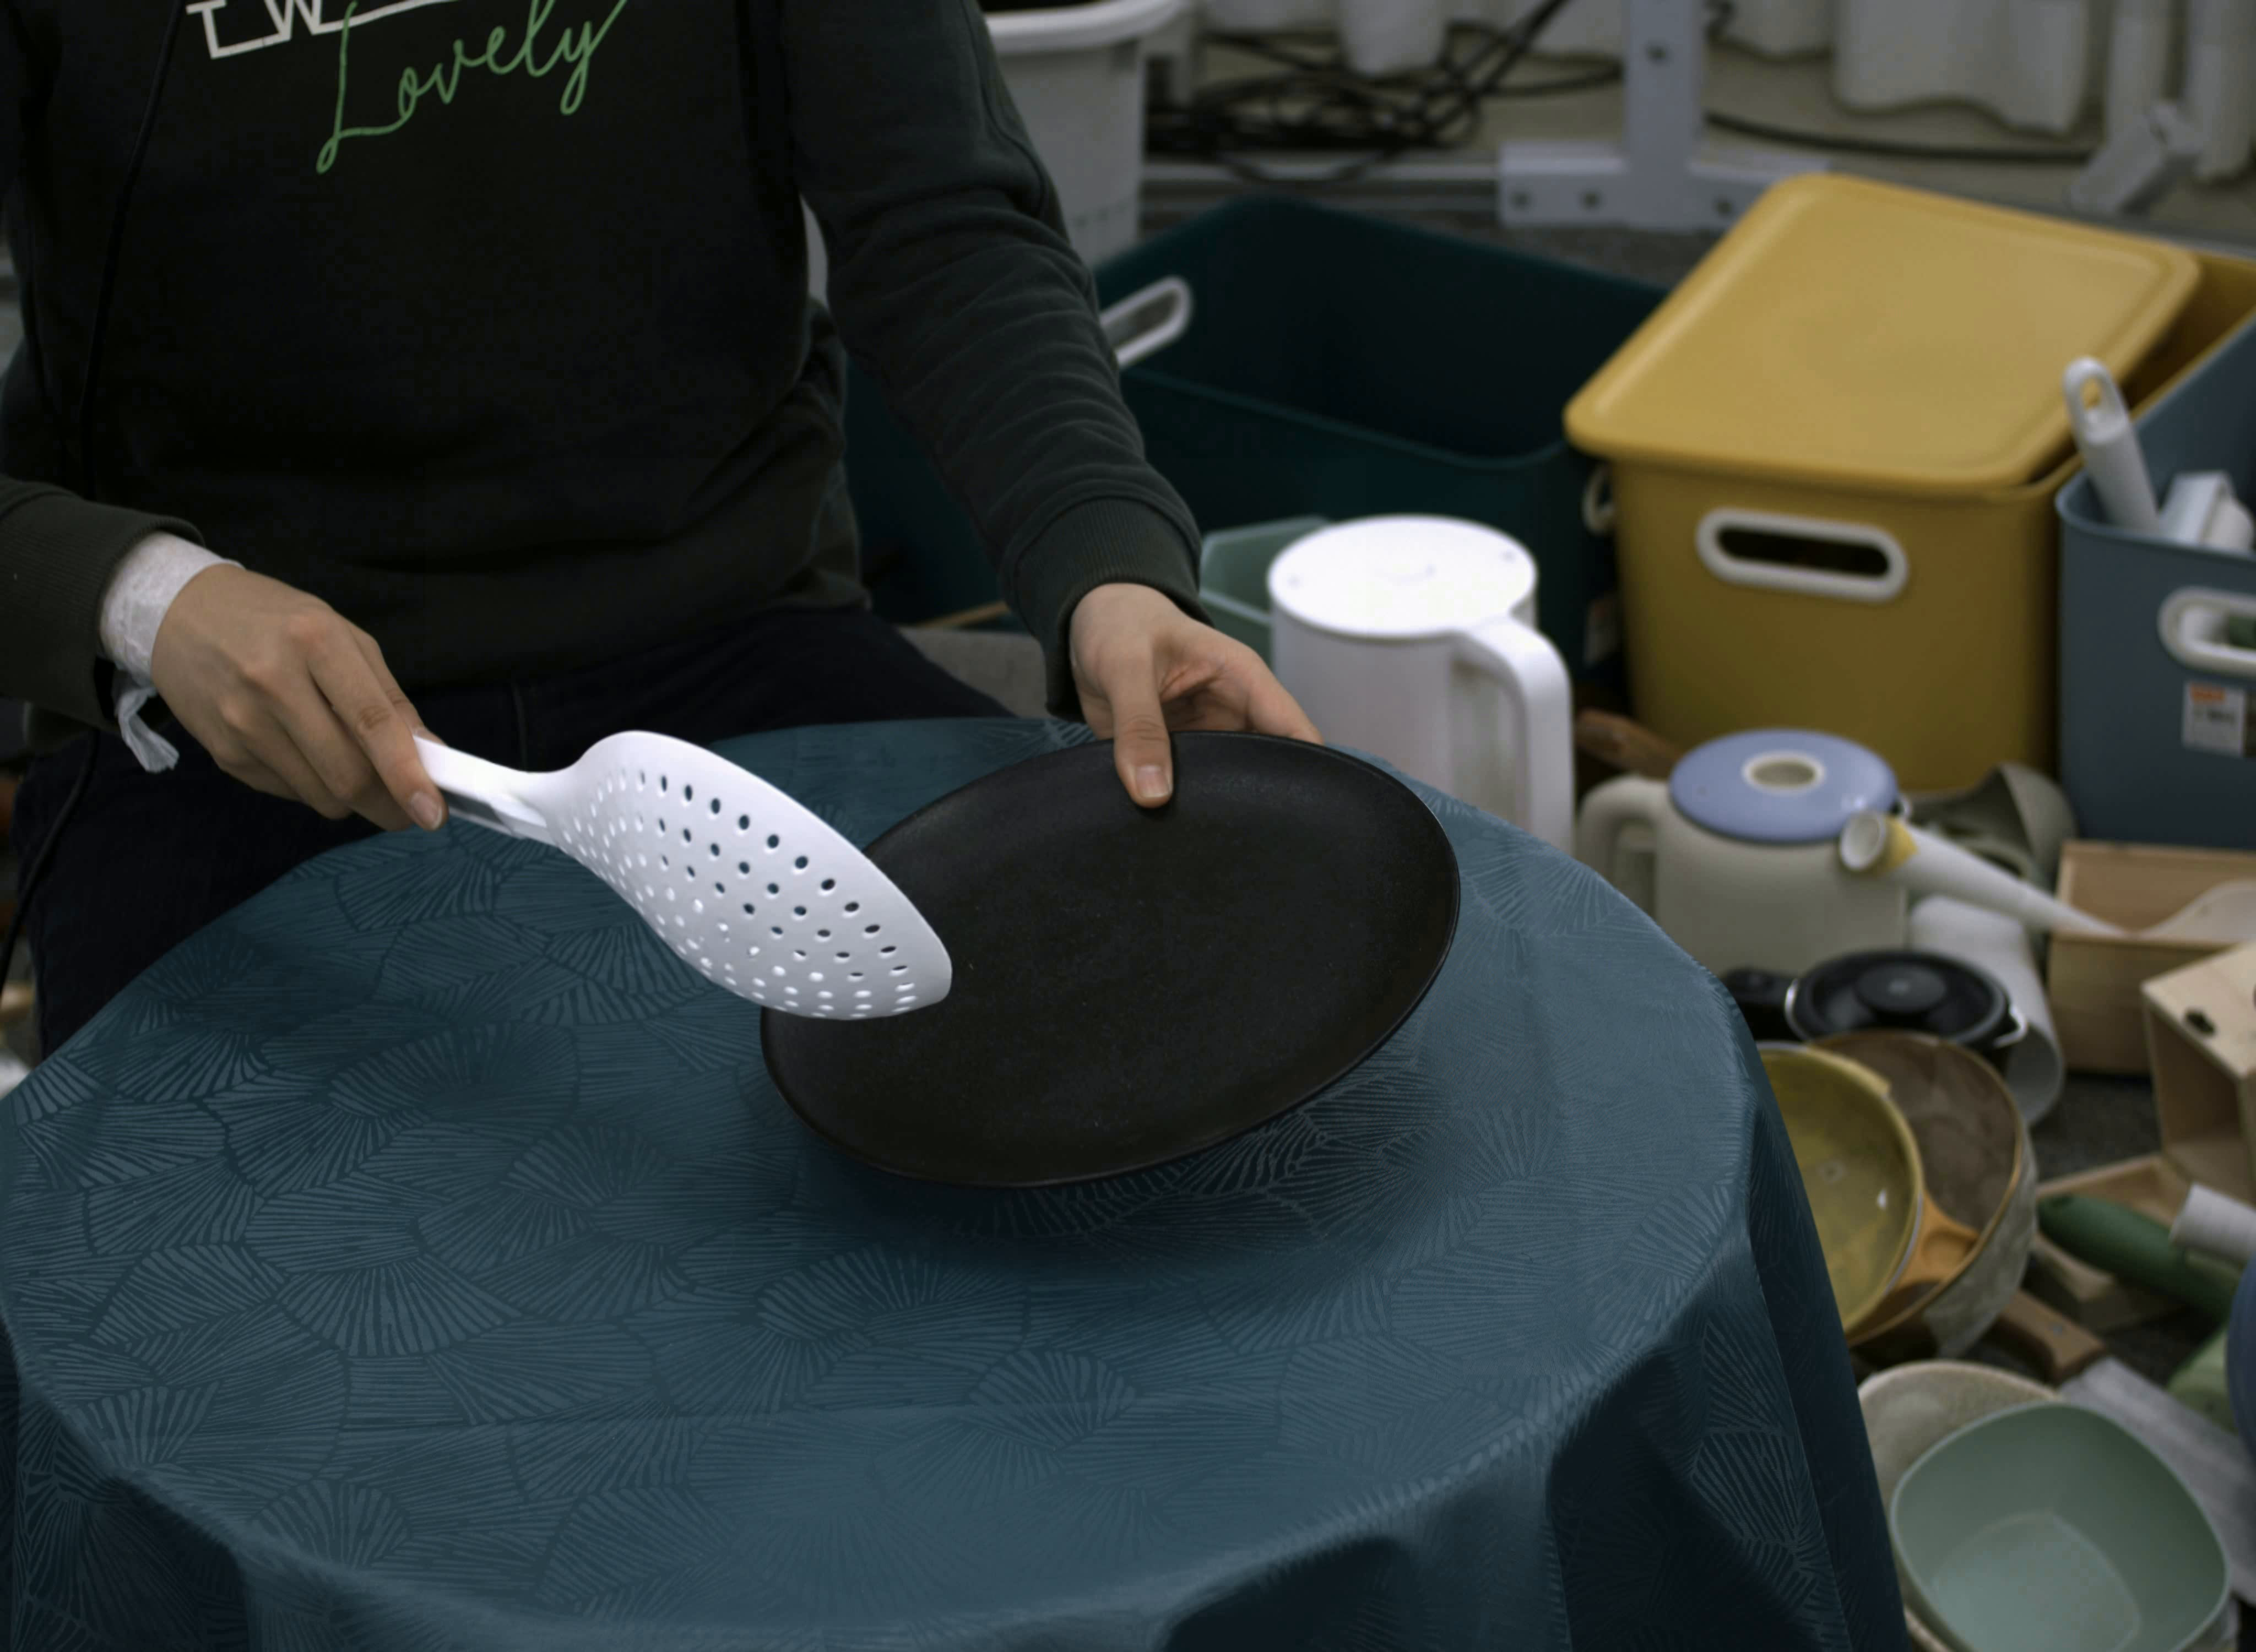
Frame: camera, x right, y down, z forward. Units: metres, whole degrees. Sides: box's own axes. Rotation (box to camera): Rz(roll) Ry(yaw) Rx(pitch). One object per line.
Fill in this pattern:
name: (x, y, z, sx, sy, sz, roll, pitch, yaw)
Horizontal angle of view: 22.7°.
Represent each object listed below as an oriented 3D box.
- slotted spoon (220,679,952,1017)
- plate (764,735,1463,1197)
slotted spoon: (-0.192, -0.005, 1.872, 0.349, 0.134, 0.046, 22, 64, 45)
plate: (-0.003, 0.050, 1.898, 0.243, 0.023, 0.249, -11, 34, 8)
